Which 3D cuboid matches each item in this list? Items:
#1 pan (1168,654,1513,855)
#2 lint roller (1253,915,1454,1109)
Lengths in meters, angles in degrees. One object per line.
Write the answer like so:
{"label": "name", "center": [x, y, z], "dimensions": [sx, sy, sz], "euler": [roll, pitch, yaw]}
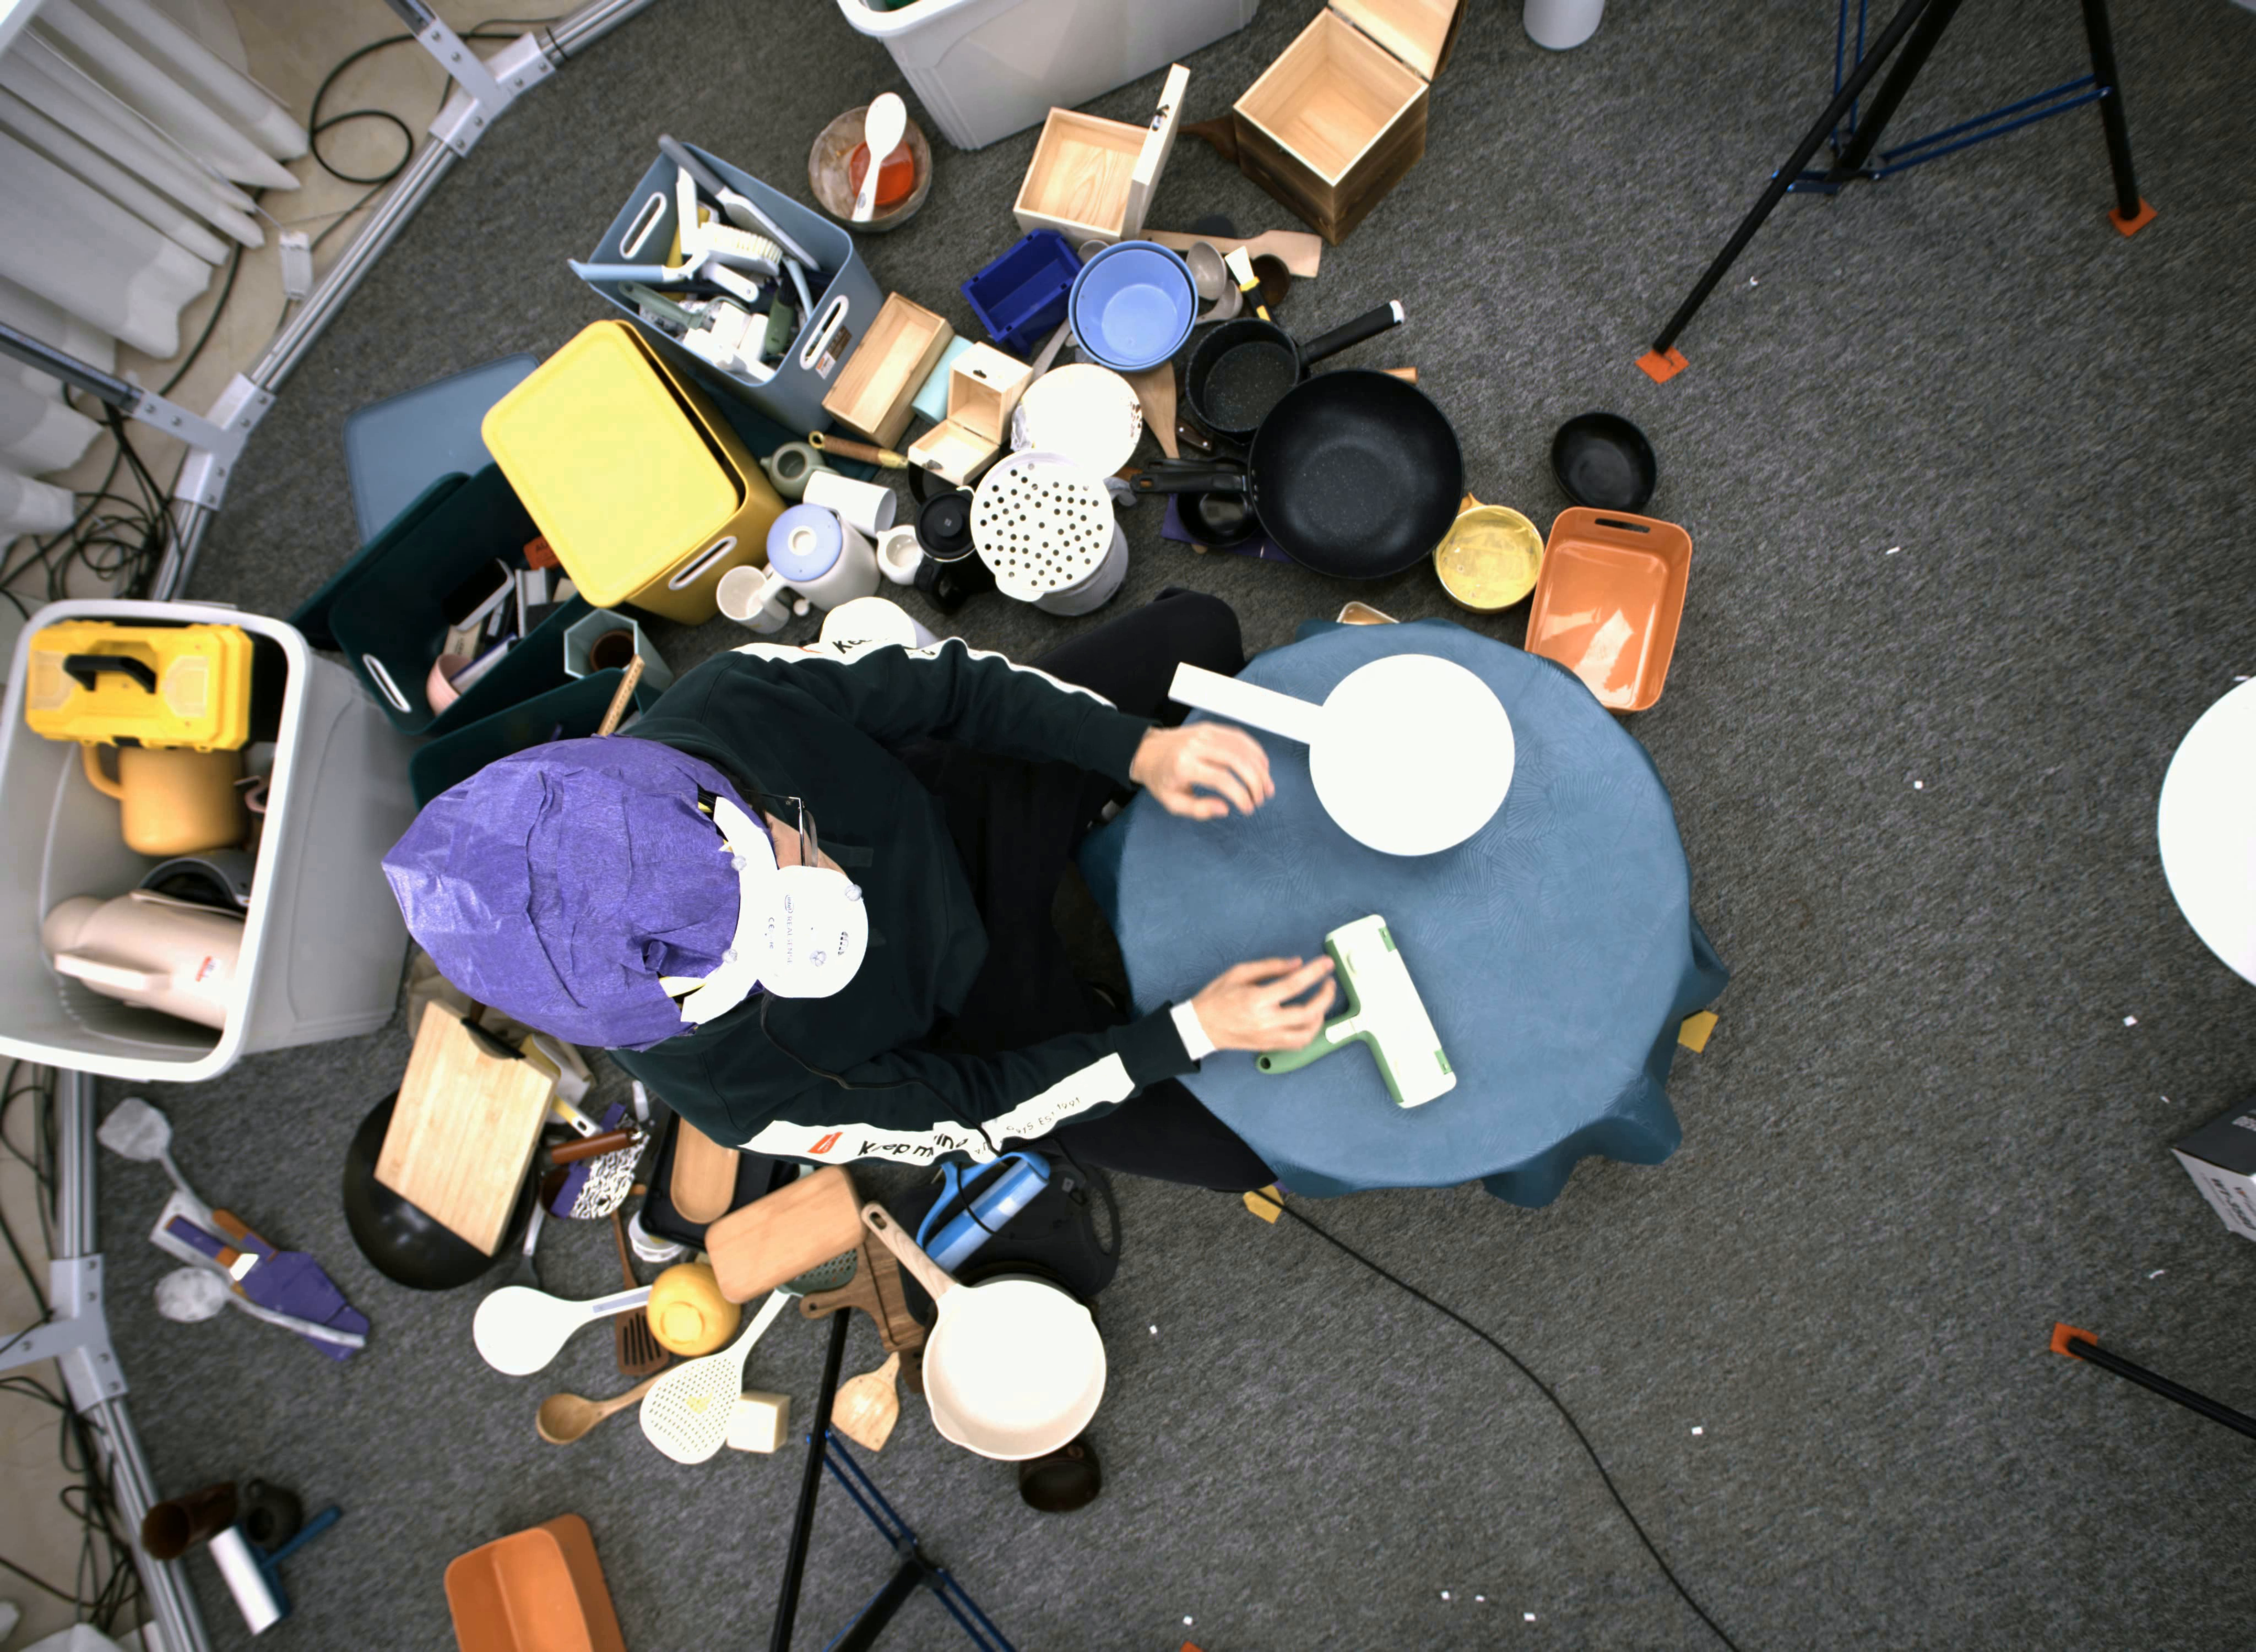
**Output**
{"label": "pan", "center": [0.217, -0.095, 1.424], "dimensions": [0.355, 0.102, 0.201], "euler": [19, 91, 11]}
{"label": "lint roller", "center": [0.213, 0.211, 1.420], "dimensions": [0.184, 0.082, 0.197], "euler": [-23, 83, 3]}
